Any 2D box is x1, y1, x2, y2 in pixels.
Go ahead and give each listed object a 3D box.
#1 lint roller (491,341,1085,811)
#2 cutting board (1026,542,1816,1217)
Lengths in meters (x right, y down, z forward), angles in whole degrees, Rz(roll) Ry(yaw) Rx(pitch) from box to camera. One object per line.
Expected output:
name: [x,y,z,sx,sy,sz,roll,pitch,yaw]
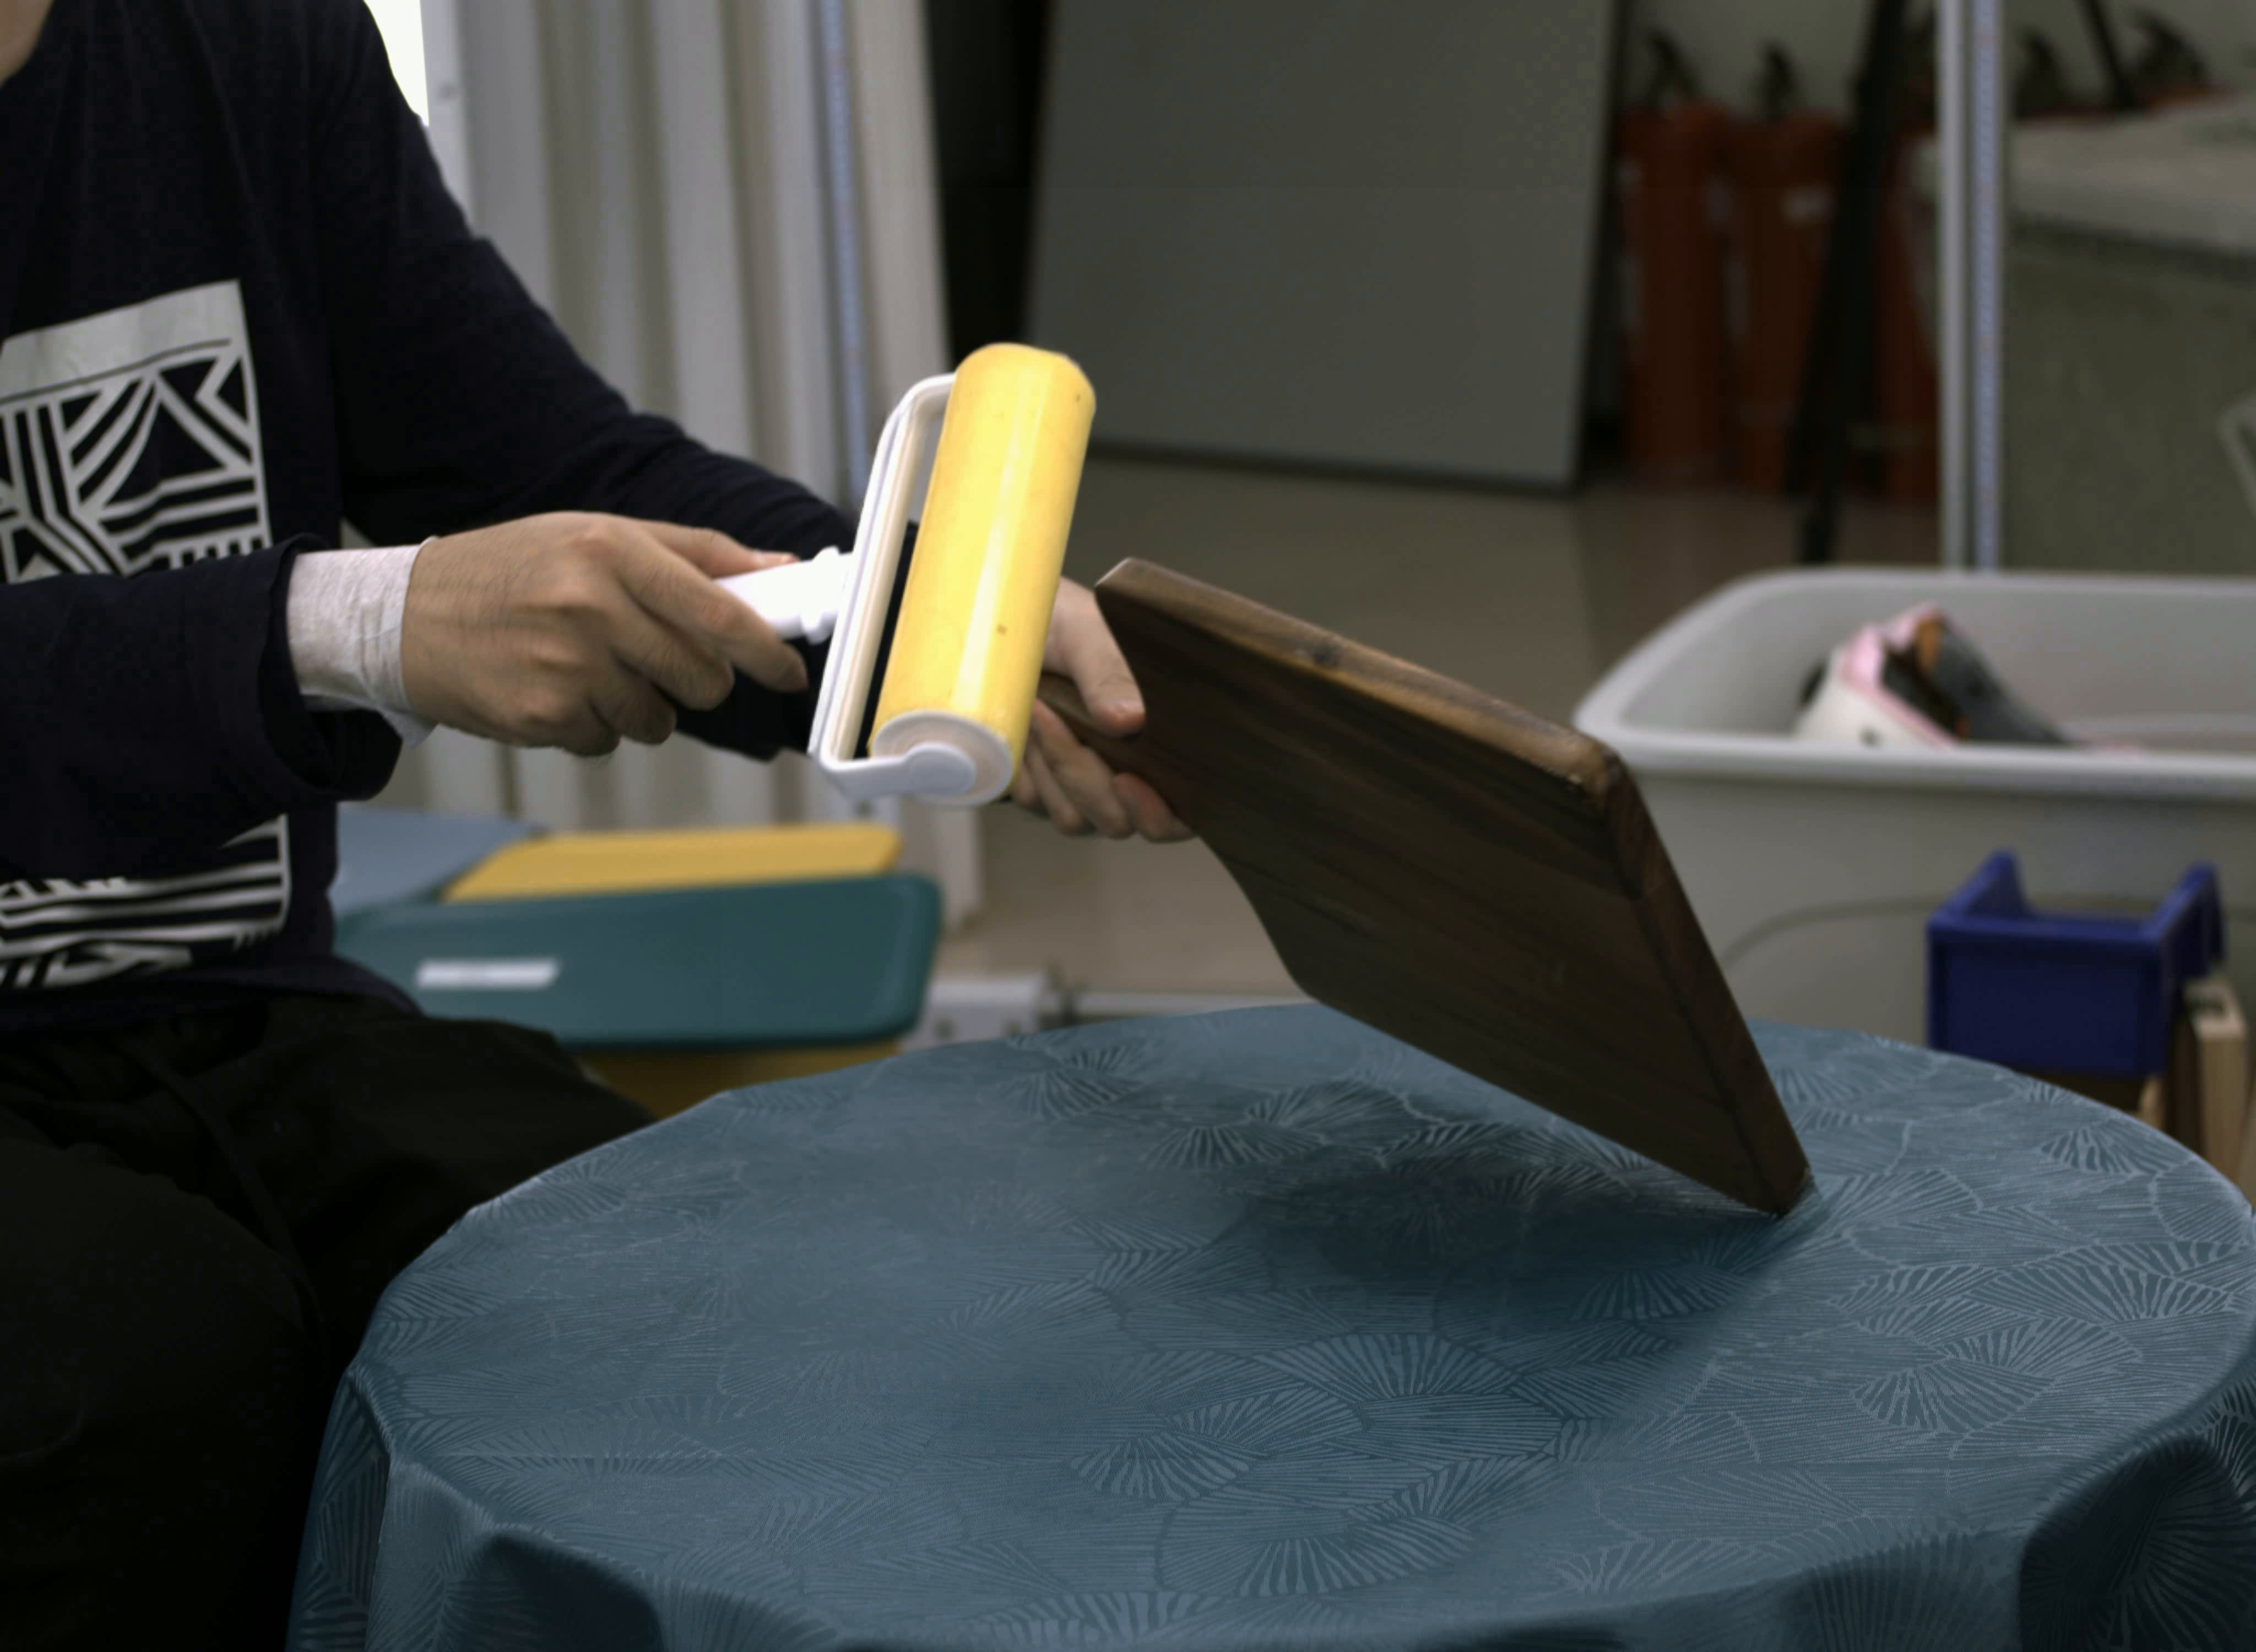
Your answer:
lint roller: [-0.115,-0.075,1.709,0.191,0.051,0.175,-2,47,14]
cutting board: [0.075,0.002,1.779,0.023,0.200,0.356,-41,36,-20]
